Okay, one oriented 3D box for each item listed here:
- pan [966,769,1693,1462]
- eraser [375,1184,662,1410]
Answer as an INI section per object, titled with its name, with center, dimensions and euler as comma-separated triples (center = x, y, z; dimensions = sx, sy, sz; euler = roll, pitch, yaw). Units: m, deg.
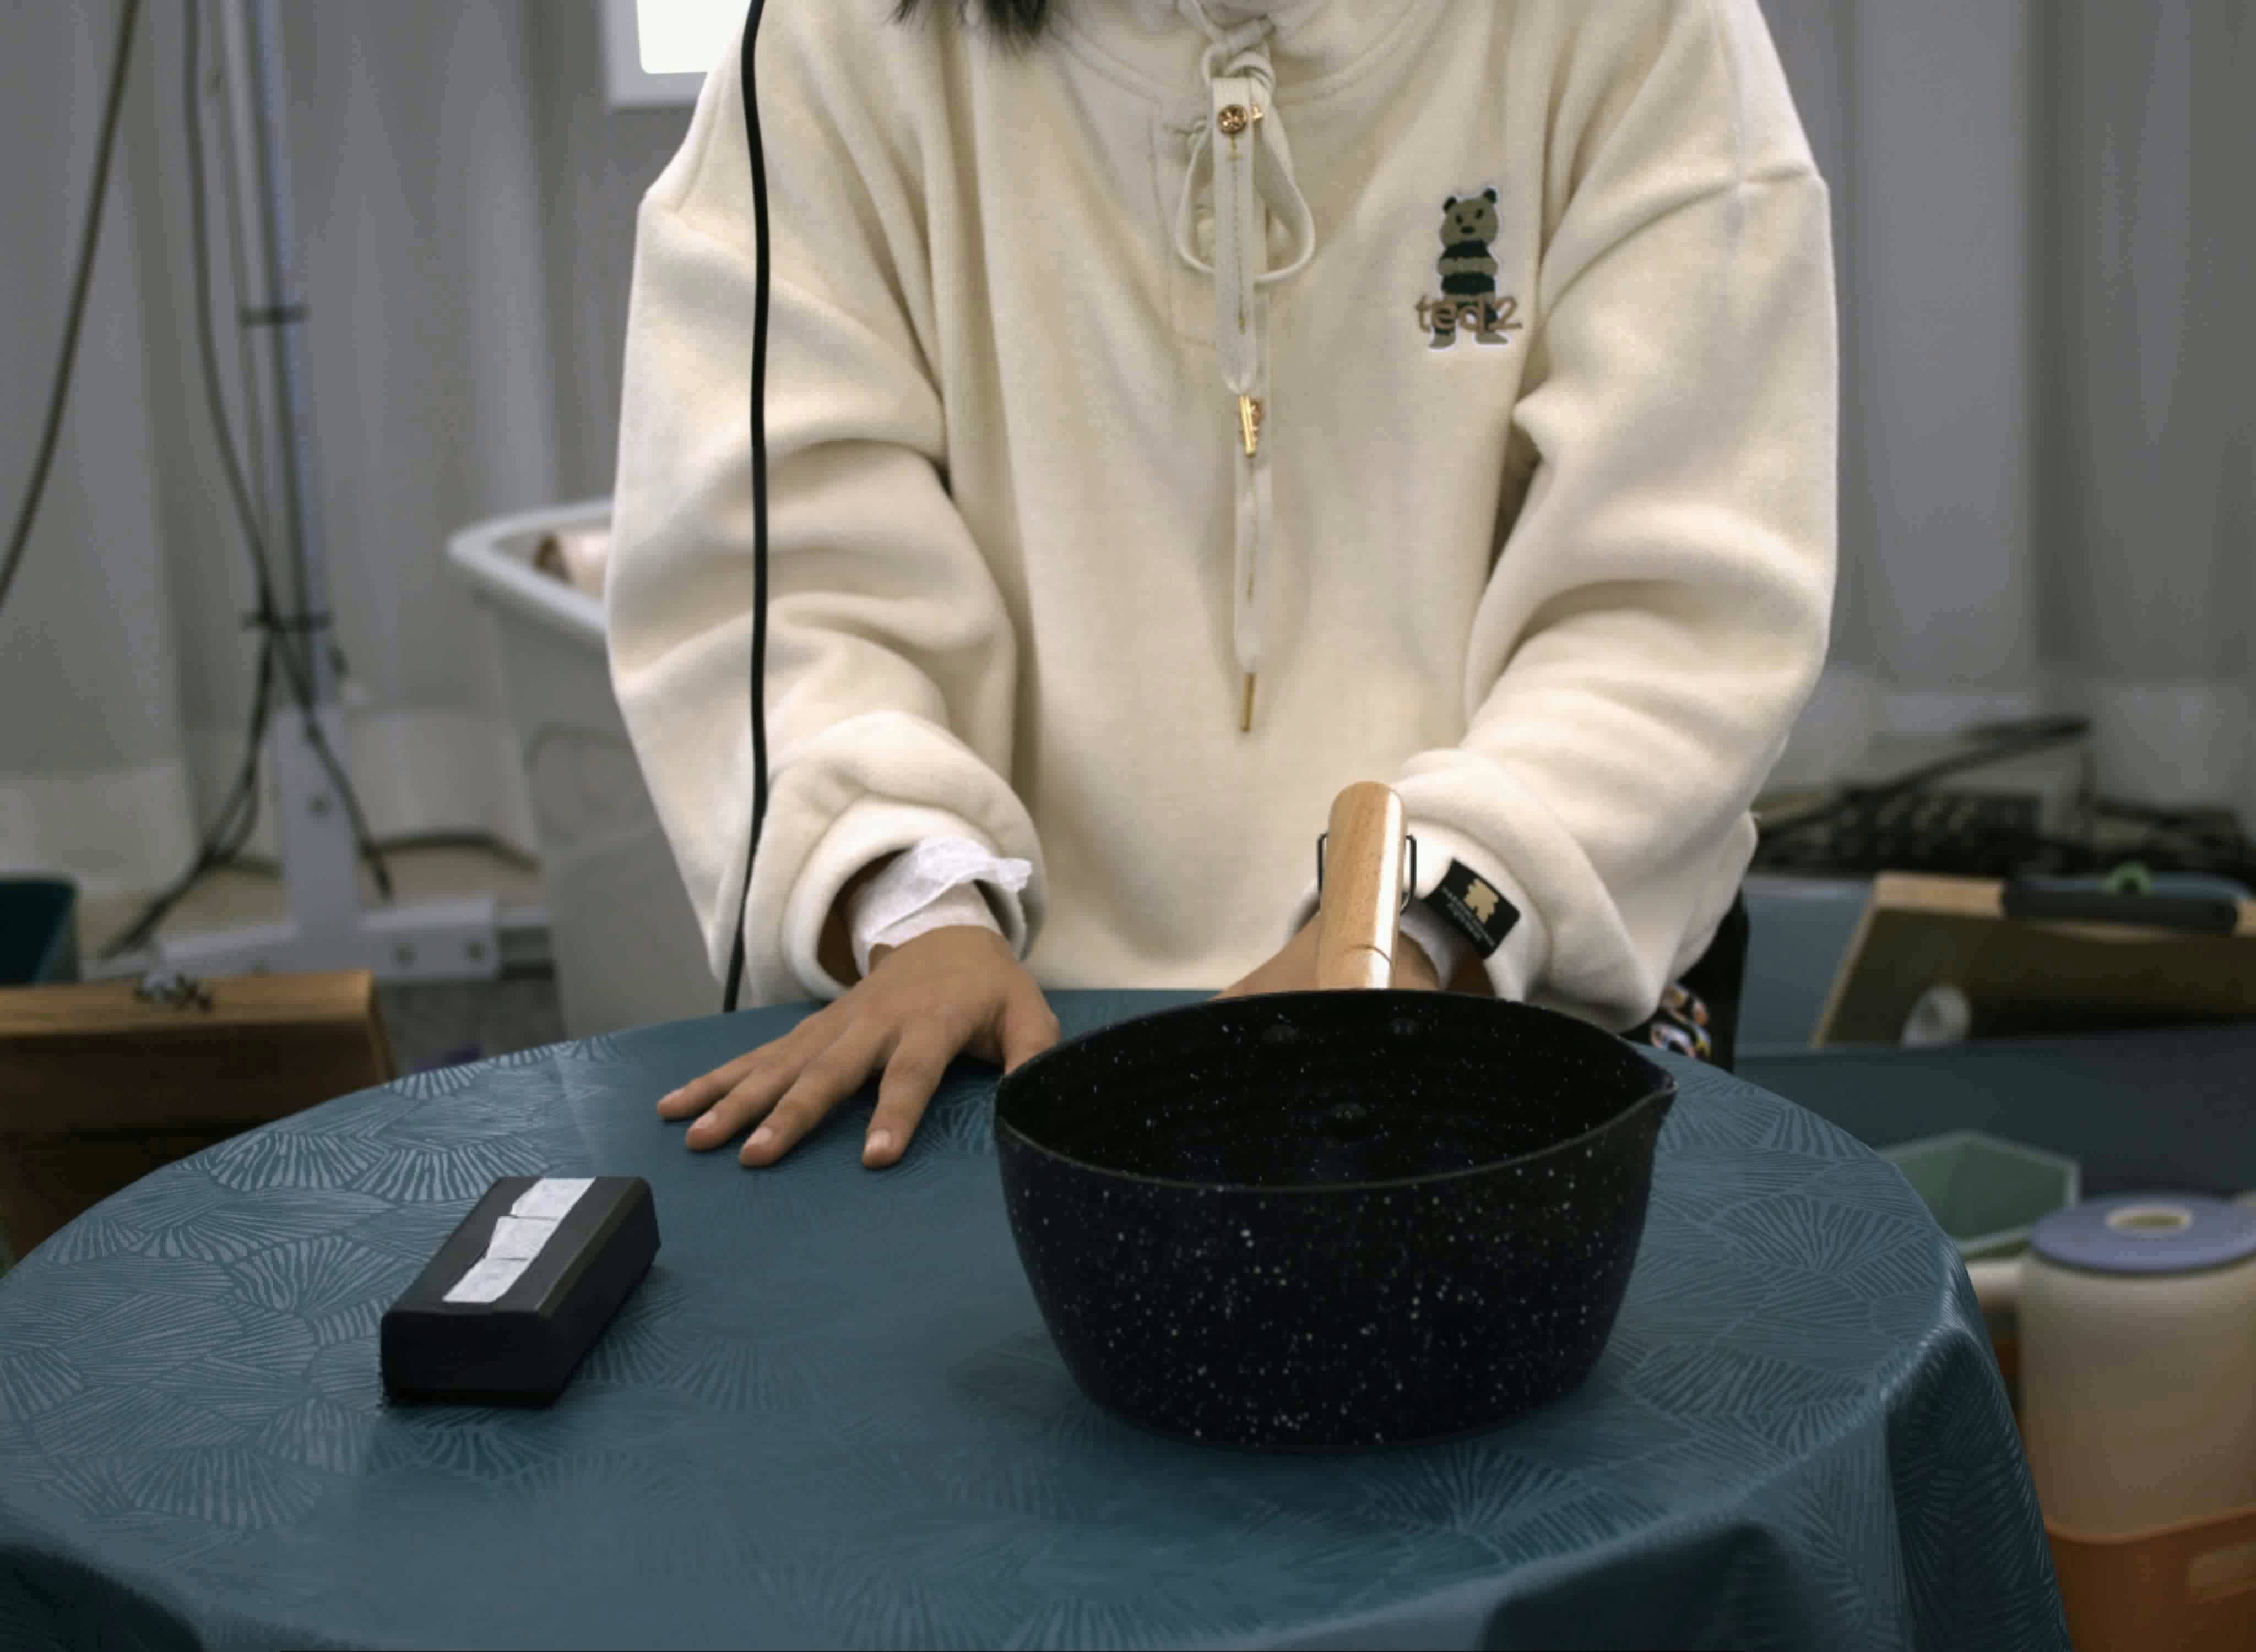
[pan]
center = 0.063, 0.080, 1.621
dimensions = 0.207, 0.108, 0.345
euler = -2, 16, 6
[eraser]
center = -0.177, 0.138, 1.610
dimensions = 0.053, 0.030, 0.126
euler = 0, 14, 10
